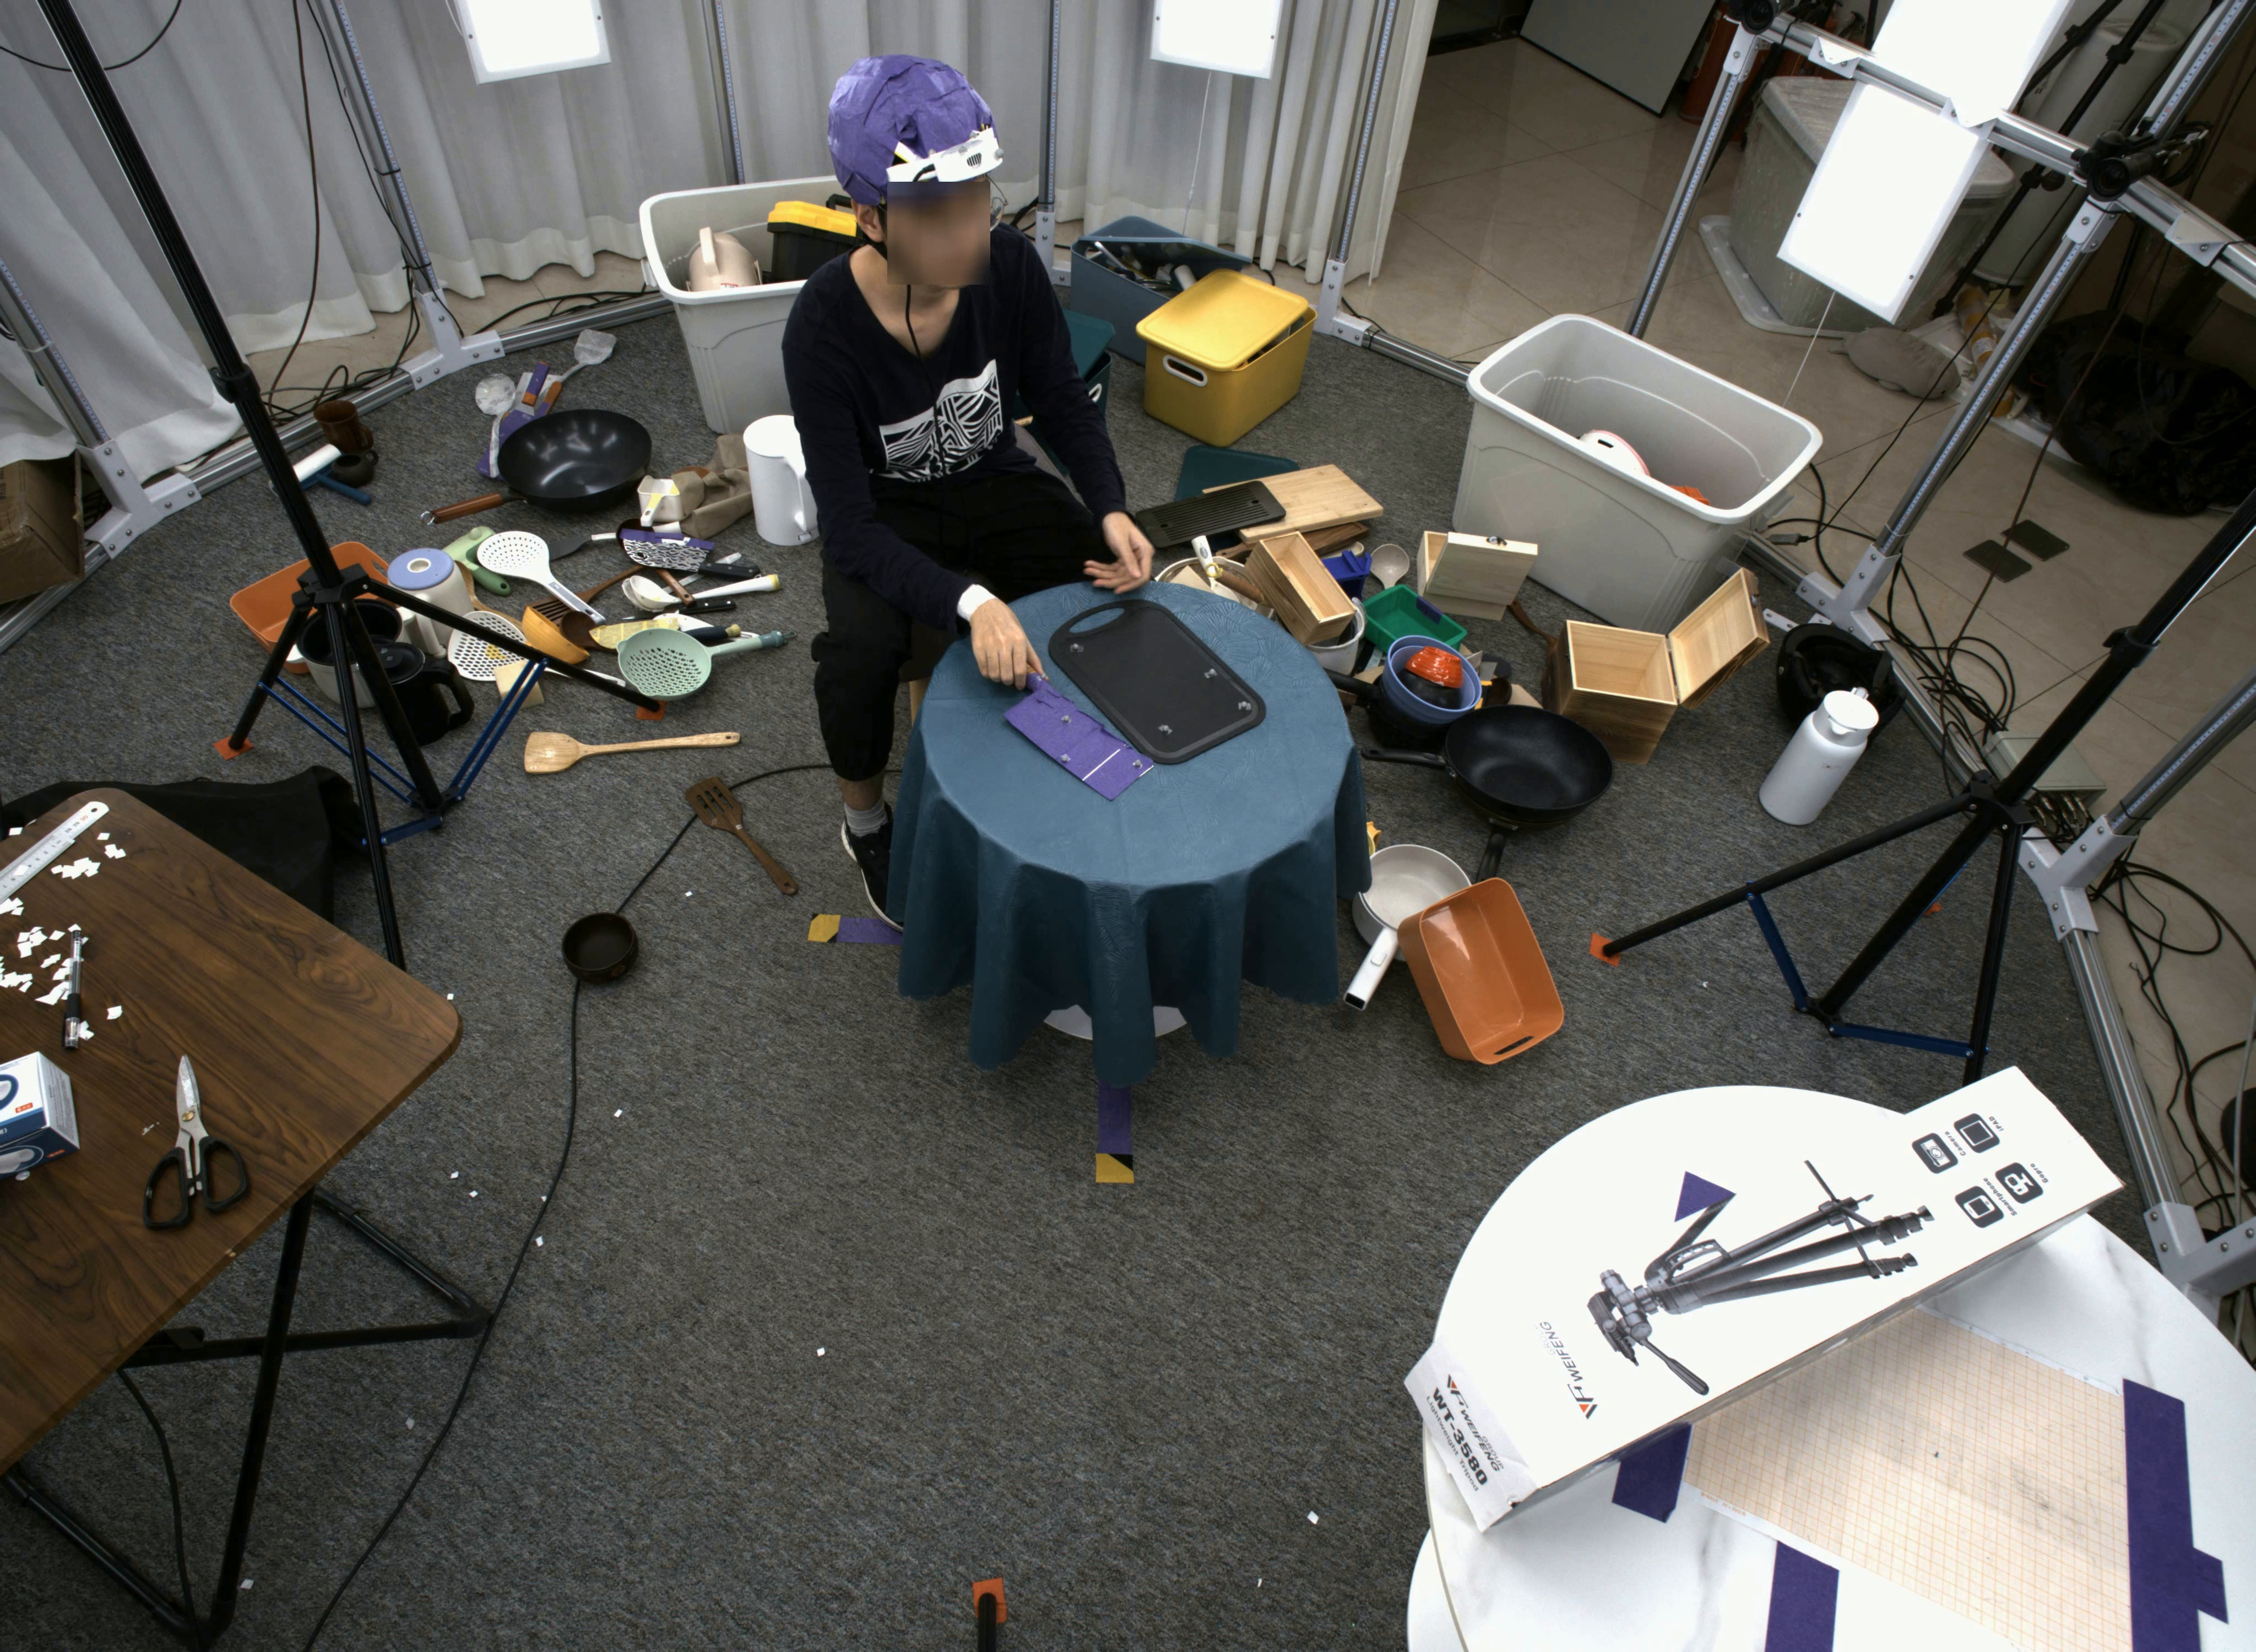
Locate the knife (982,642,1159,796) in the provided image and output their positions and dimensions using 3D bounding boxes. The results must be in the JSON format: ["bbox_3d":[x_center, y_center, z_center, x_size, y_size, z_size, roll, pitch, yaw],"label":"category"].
[{"bbox_3d":[-0.104,-0.151,1.773,0.319,0.031,0.105,37,56,24],"label":"knife"}]

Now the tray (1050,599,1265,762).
[{"bbox_3d":[0.035,-0.222,1.857,0.212,0.009,0.332,-26,55,-24],"label":"tray"}]
